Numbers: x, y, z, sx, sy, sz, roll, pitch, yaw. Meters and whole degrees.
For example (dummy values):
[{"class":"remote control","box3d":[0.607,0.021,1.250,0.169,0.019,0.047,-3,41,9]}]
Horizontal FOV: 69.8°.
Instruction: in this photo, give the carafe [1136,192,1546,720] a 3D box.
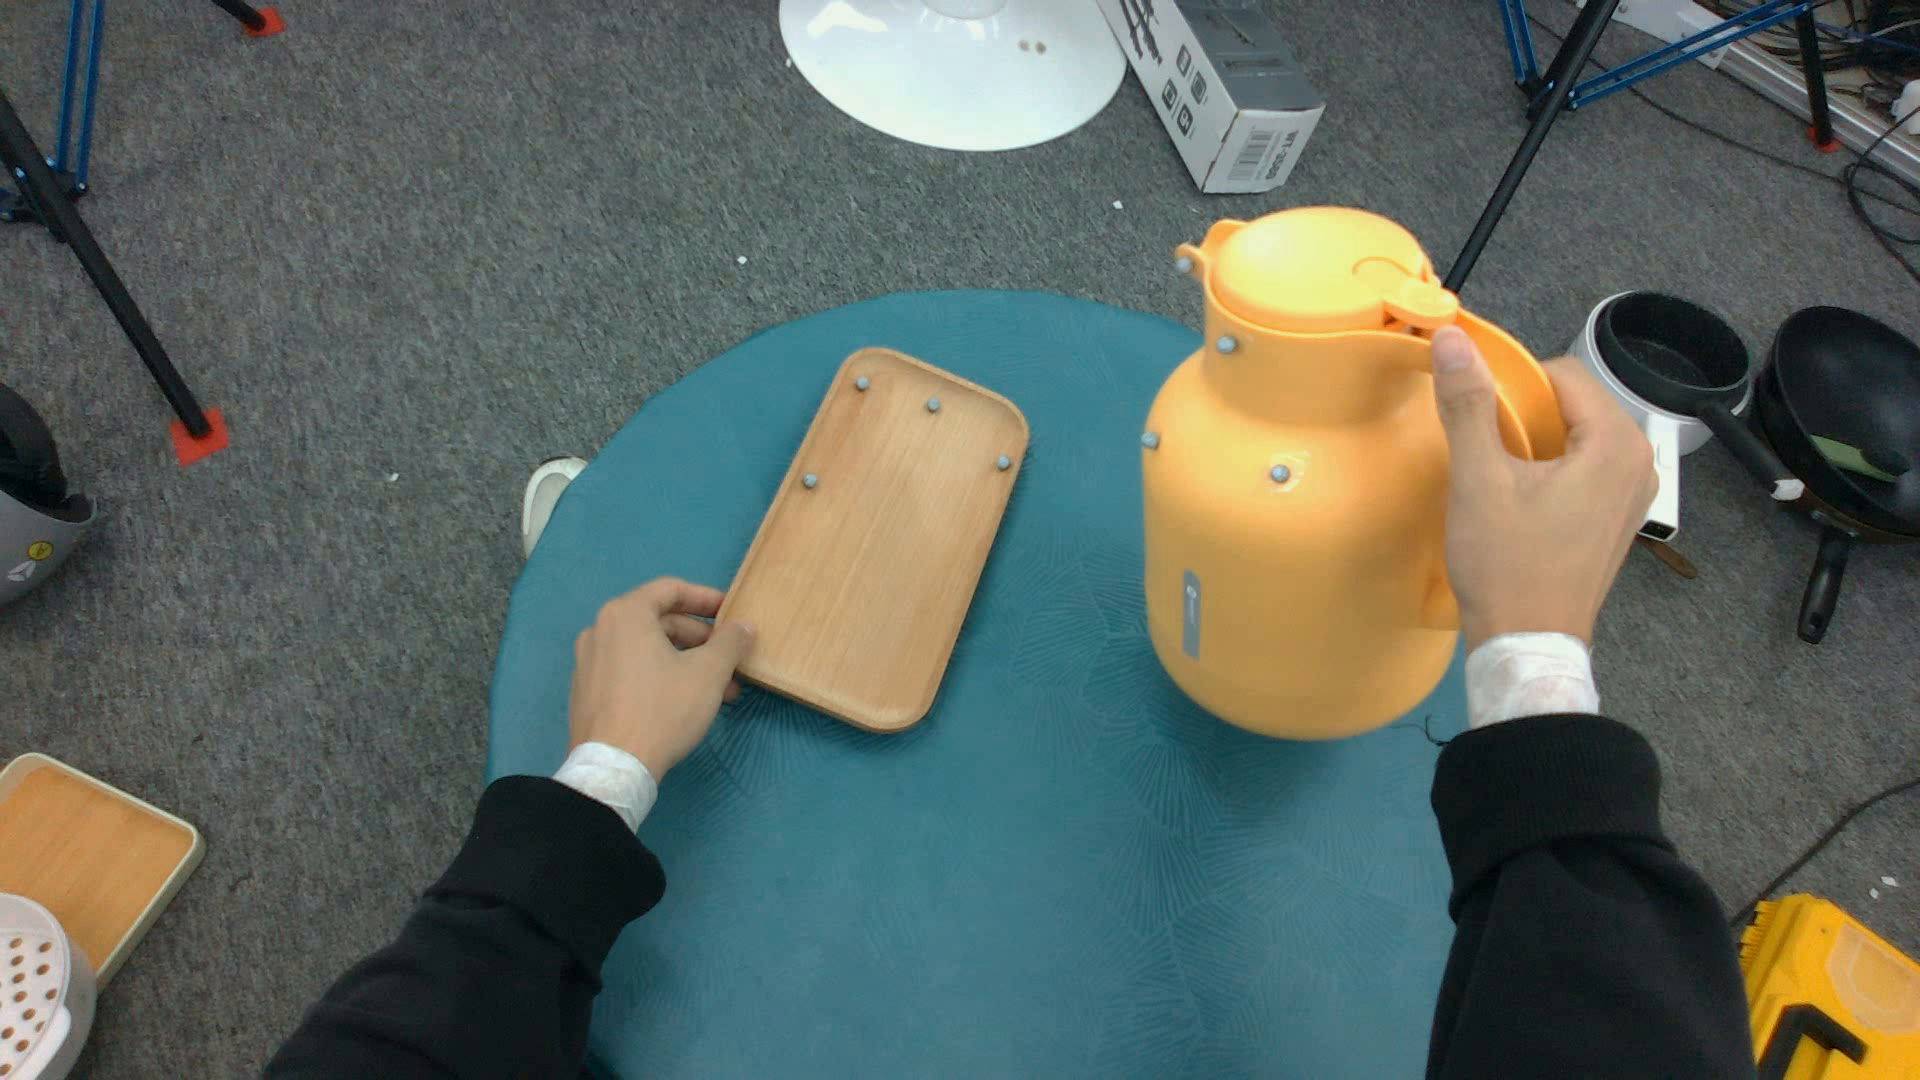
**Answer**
[{"class":"carafe","box3d":[0.180,-0.031,0.674,0.164,0.259,0.202,-32,47,-22]}]

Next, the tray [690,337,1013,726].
[{"class":"tray","box3d":[-0.057,-0.012,0.805,0.130,0.023,0.252,22,56,0]}]
